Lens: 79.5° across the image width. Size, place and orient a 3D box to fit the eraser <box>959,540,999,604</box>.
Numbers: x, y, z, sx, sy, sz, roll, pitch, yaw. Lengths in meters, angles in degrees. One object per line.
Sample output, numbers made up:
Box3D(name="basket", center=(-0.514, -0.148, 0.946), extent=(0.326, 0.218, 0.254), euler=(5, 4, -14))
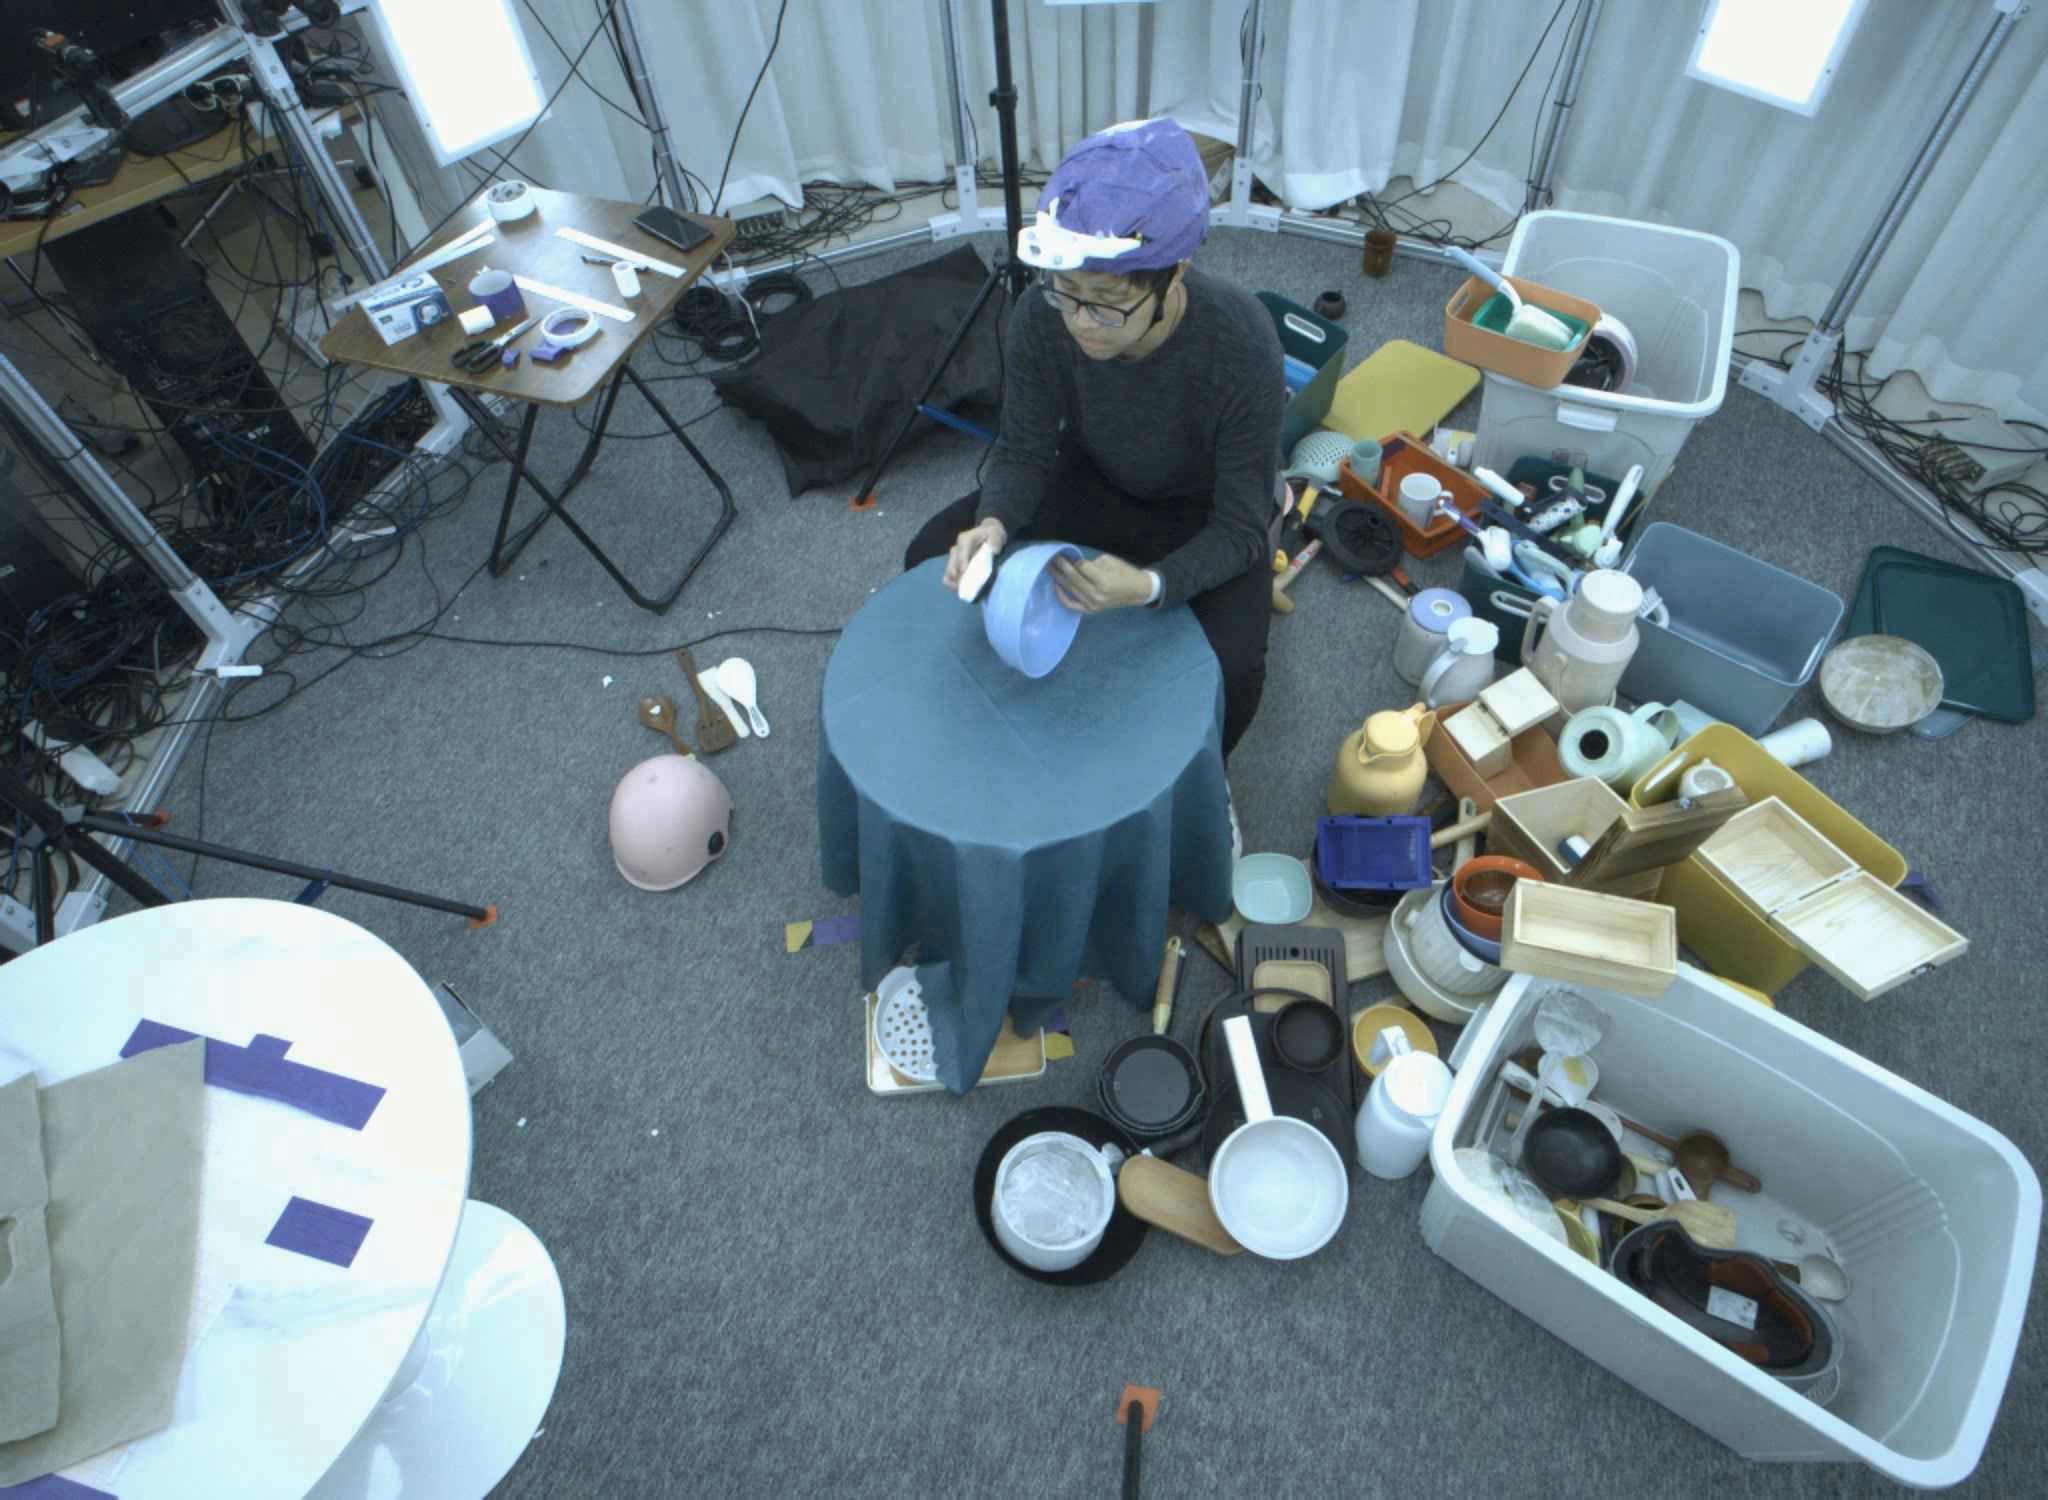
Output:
Box3D(name="eraser", center=(-0.065, -0.257, 1.751), extent=(0.035, 0.063, 0.130), euler=(33, 22, -18))

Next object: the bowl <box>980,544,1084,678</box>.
Box3D(name="bowl", center=(0.000, -0.210, 1.761), extent=(0.094, 0.199, 0.197), euler=(20, 59, 23))
